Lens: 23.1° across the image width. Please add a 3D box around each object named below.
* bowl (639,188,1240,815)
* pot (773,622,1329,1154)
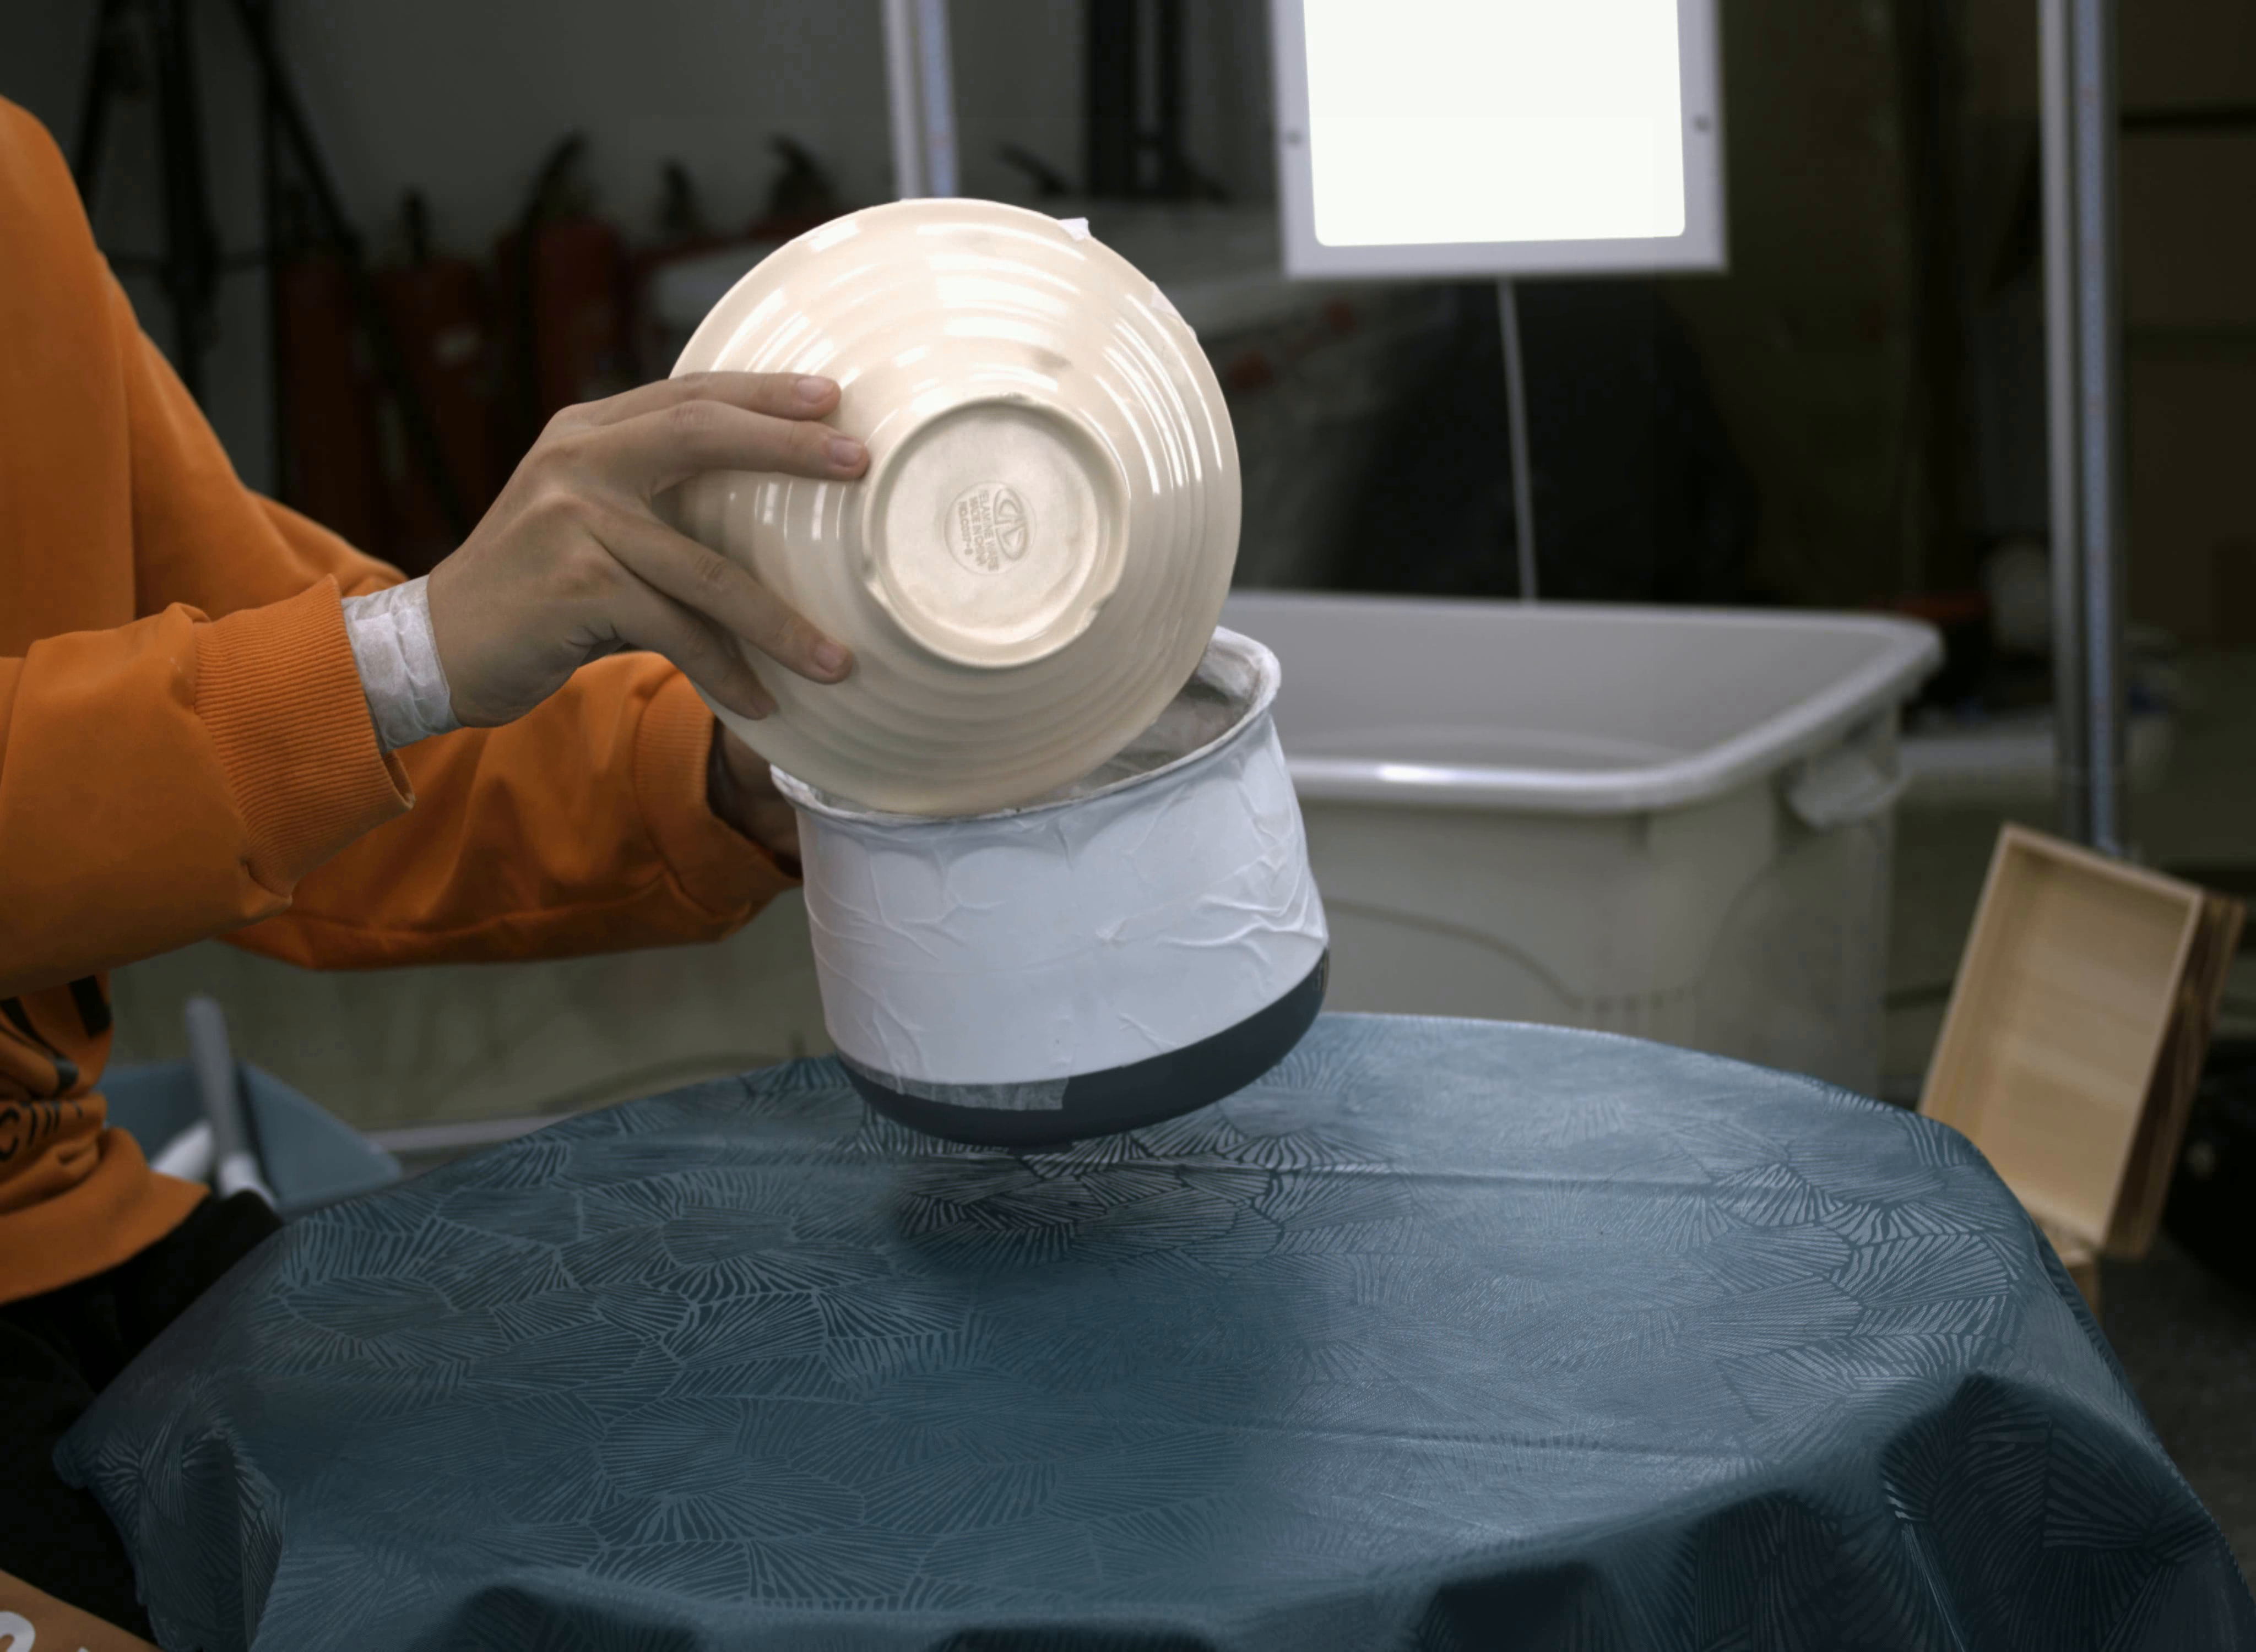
[{"bbox_3d":[-0.049,-0.102,1.761,0.201,0.205,0.079,-8,8,-14],"label":"bowl"},{"bbox_3d":[-0.038,0.014,1.909,0.175,0.137,0.238,-21,23,-25],"label":"pot"}]
